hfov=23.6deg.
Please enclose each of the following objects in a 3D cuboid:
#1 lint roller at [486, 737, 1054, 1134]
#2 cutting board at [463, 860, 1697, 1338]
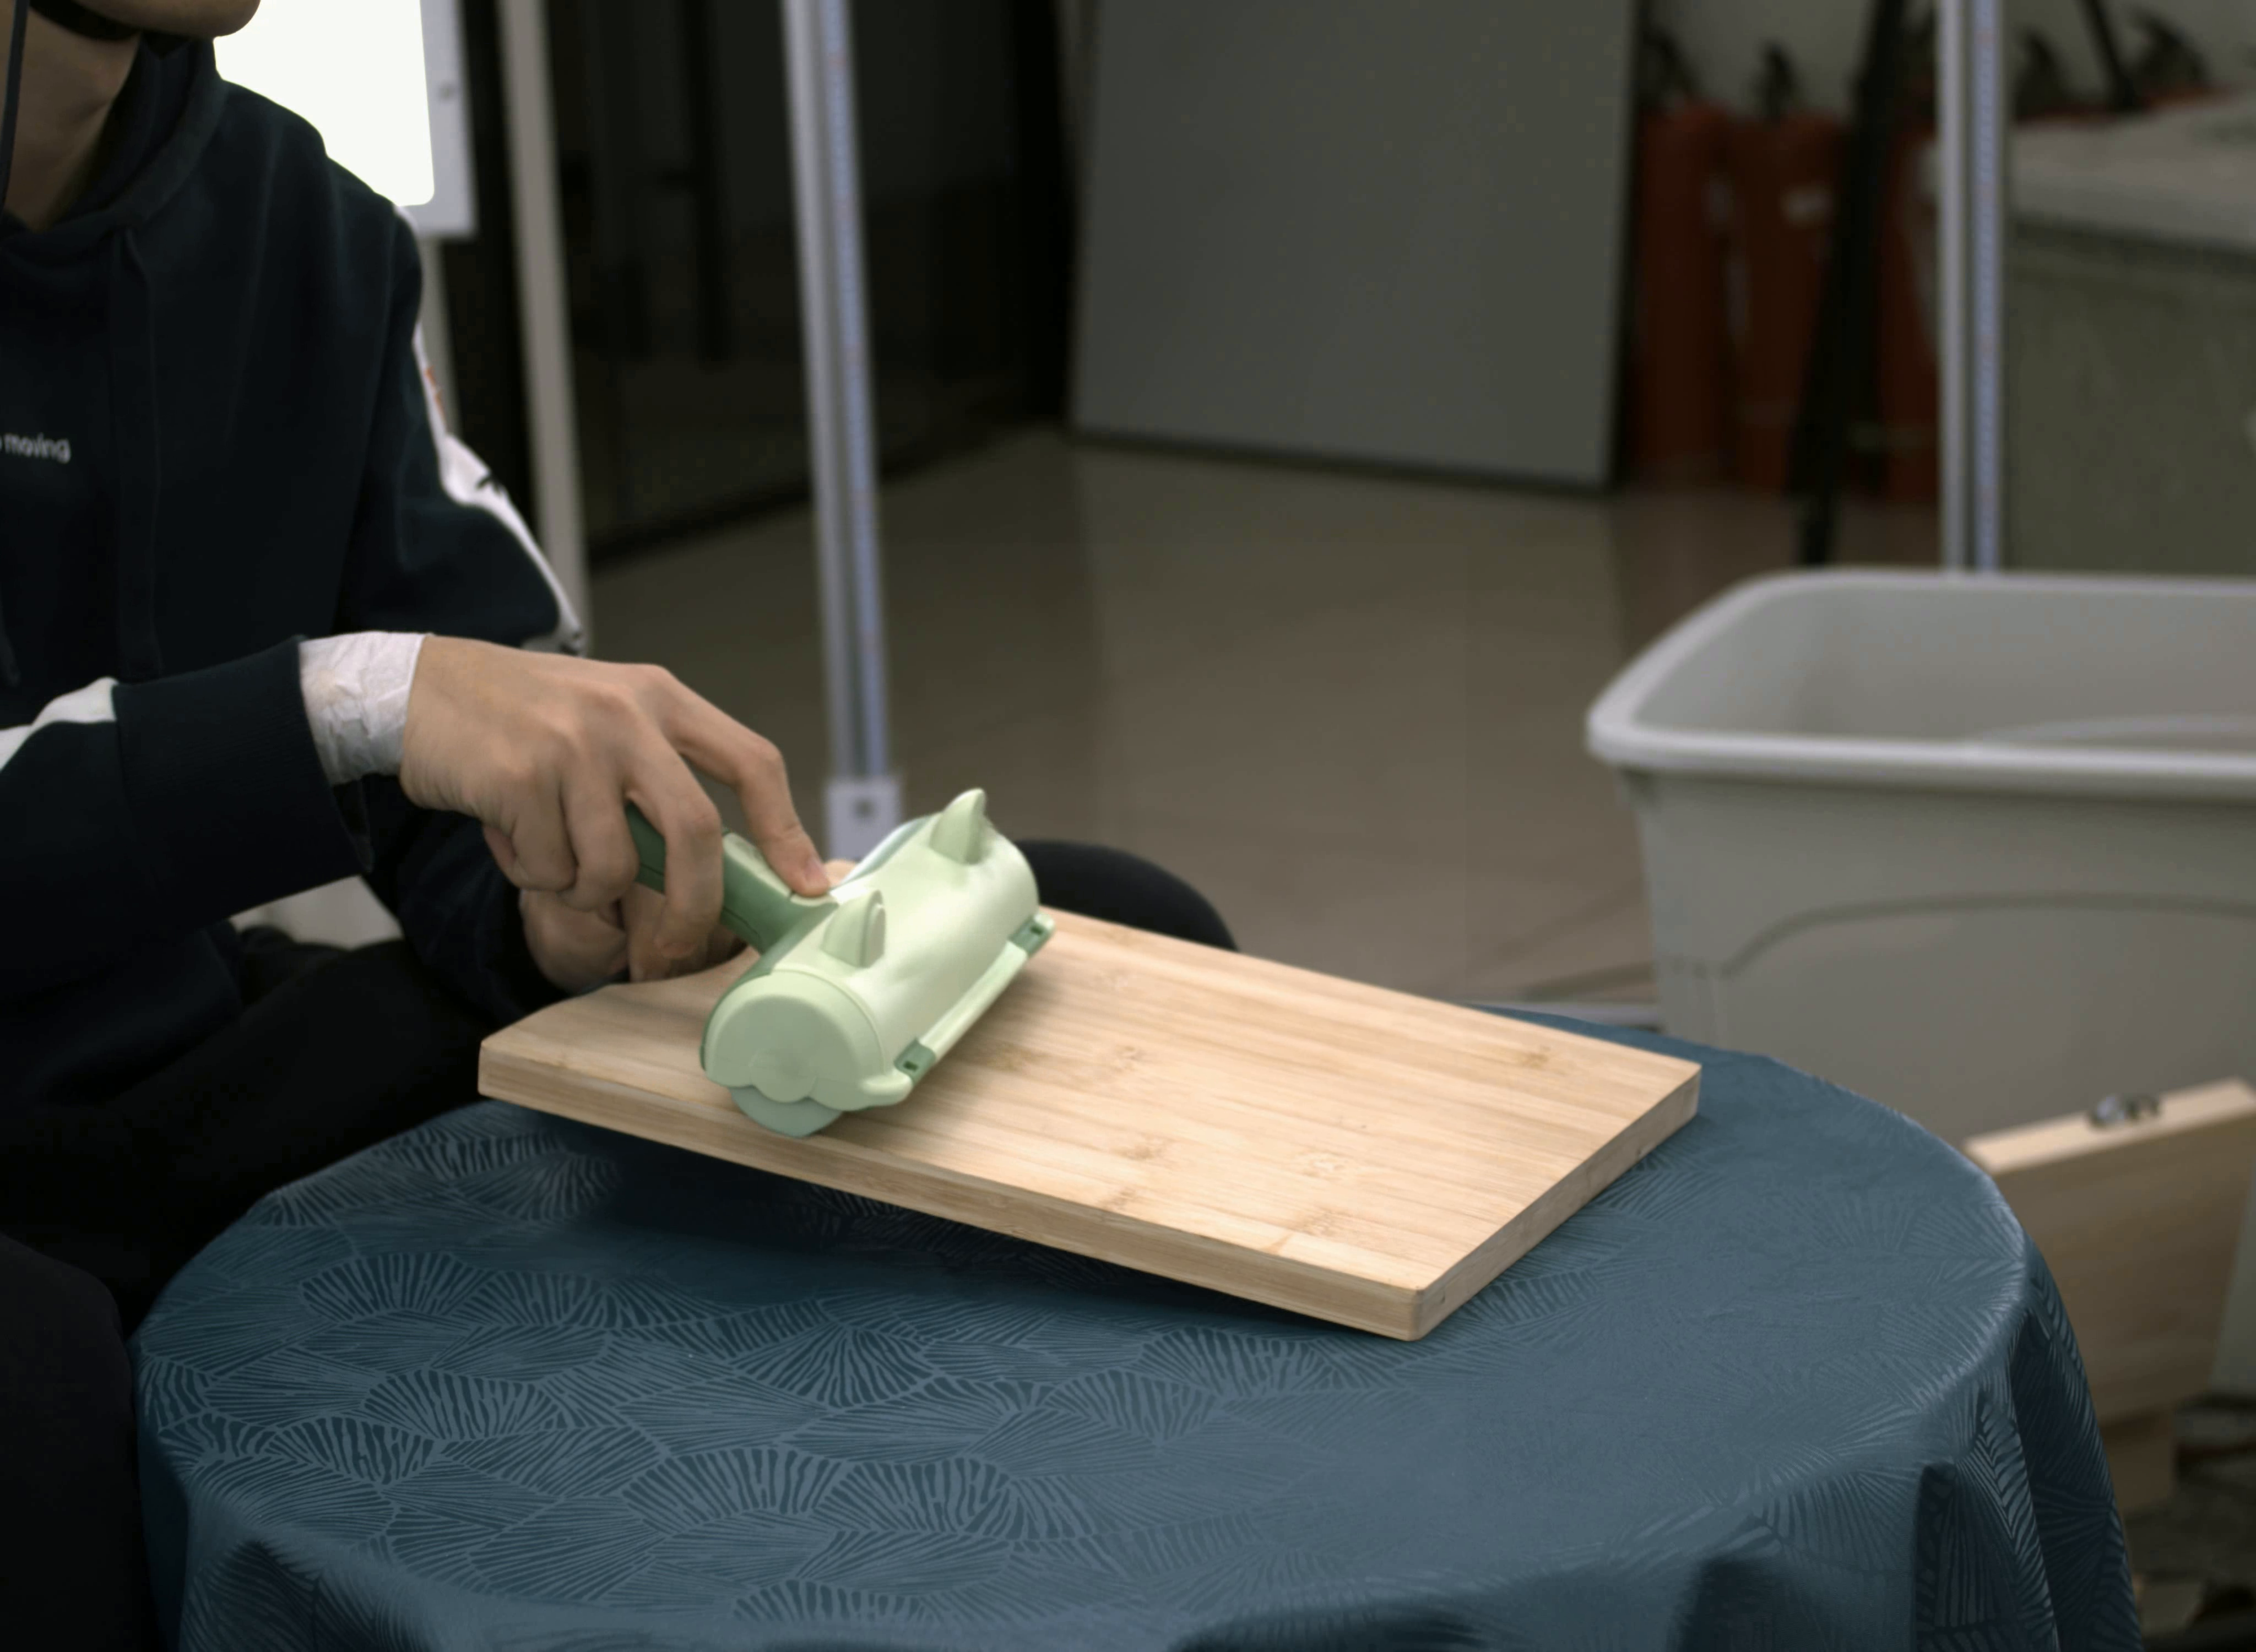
[{"bbox_3d":[-0.122,0.007,1.770,0.183,0.083,0.197,37,23,4],"label":"lint roller"},{"bbox_3d":[-0.013,0.084,1.787,0.349,0.024,0.247,12,20,25],"label":"cutting board"}]
